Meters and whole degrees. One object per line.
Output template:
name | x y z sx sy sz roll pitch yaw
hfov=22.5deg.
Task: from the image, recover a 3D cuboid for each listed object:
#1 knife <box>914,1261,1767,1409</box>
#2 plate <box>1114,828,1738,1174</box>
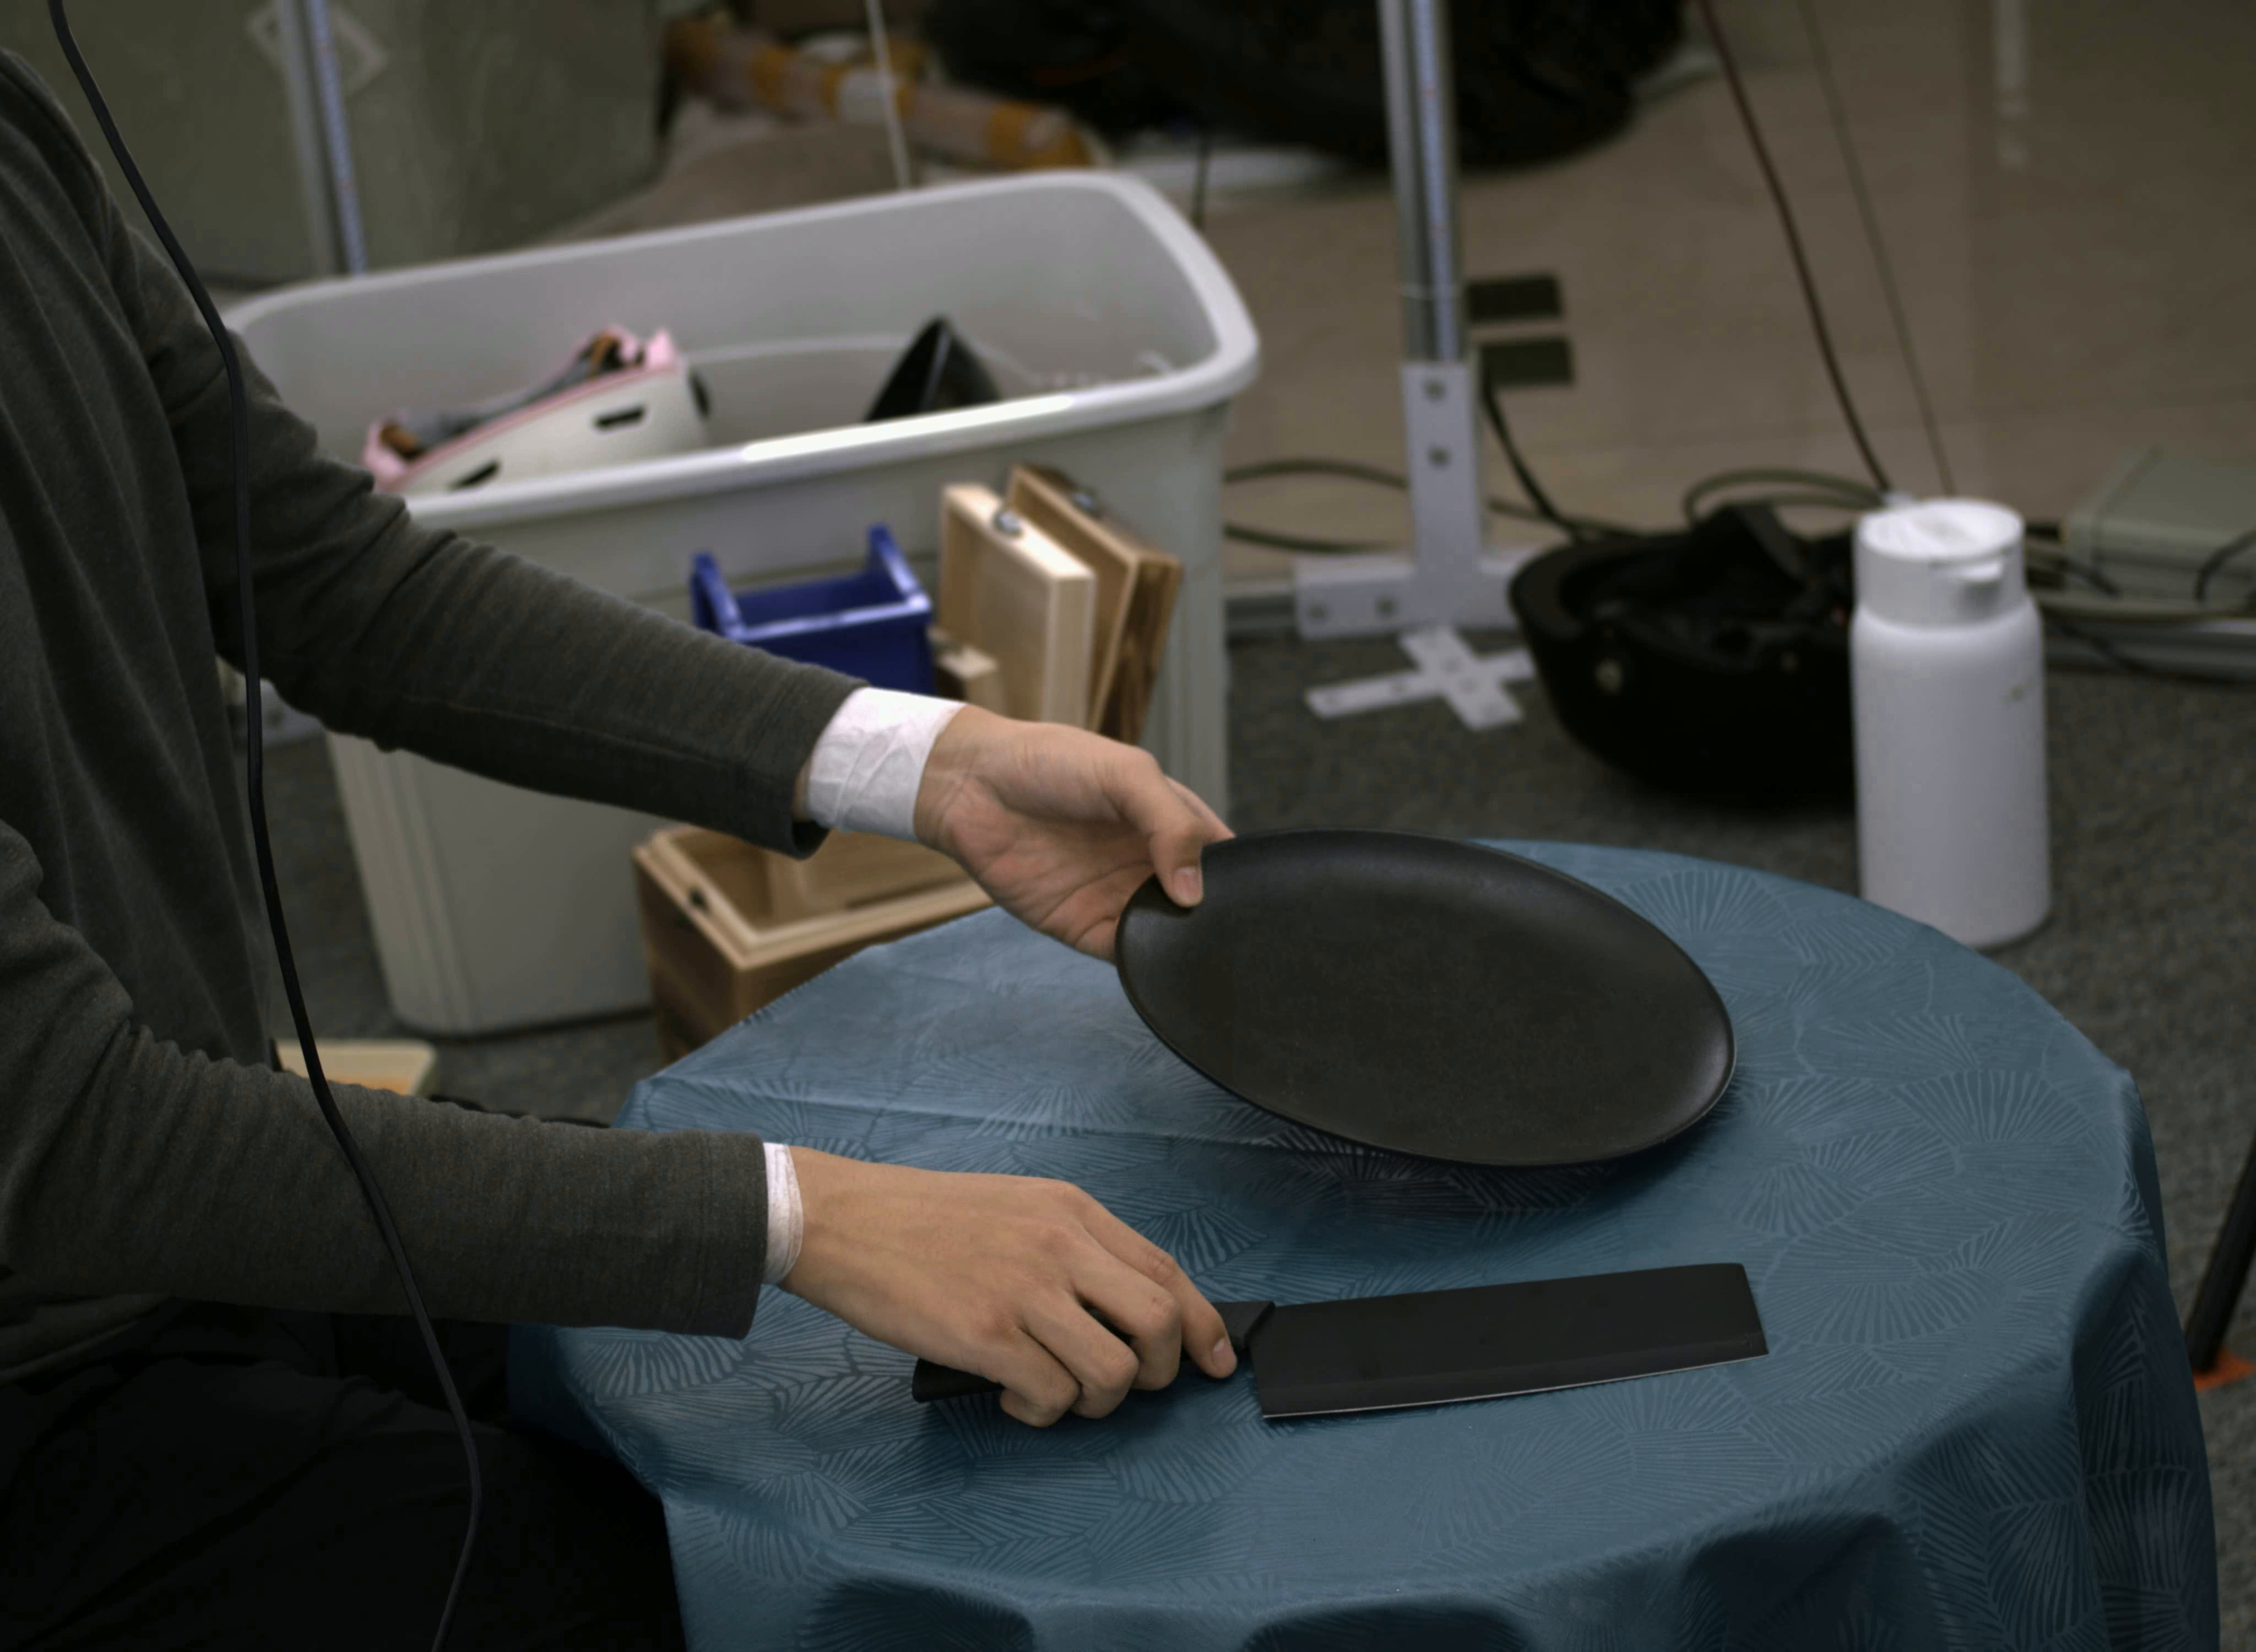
knife | 0.075 0.185 2.018 0.302 0.021 0.079 -4 29 2
plate | 0.113 0.072 2.183 0.244 0.024 0.240 8 30 -5
